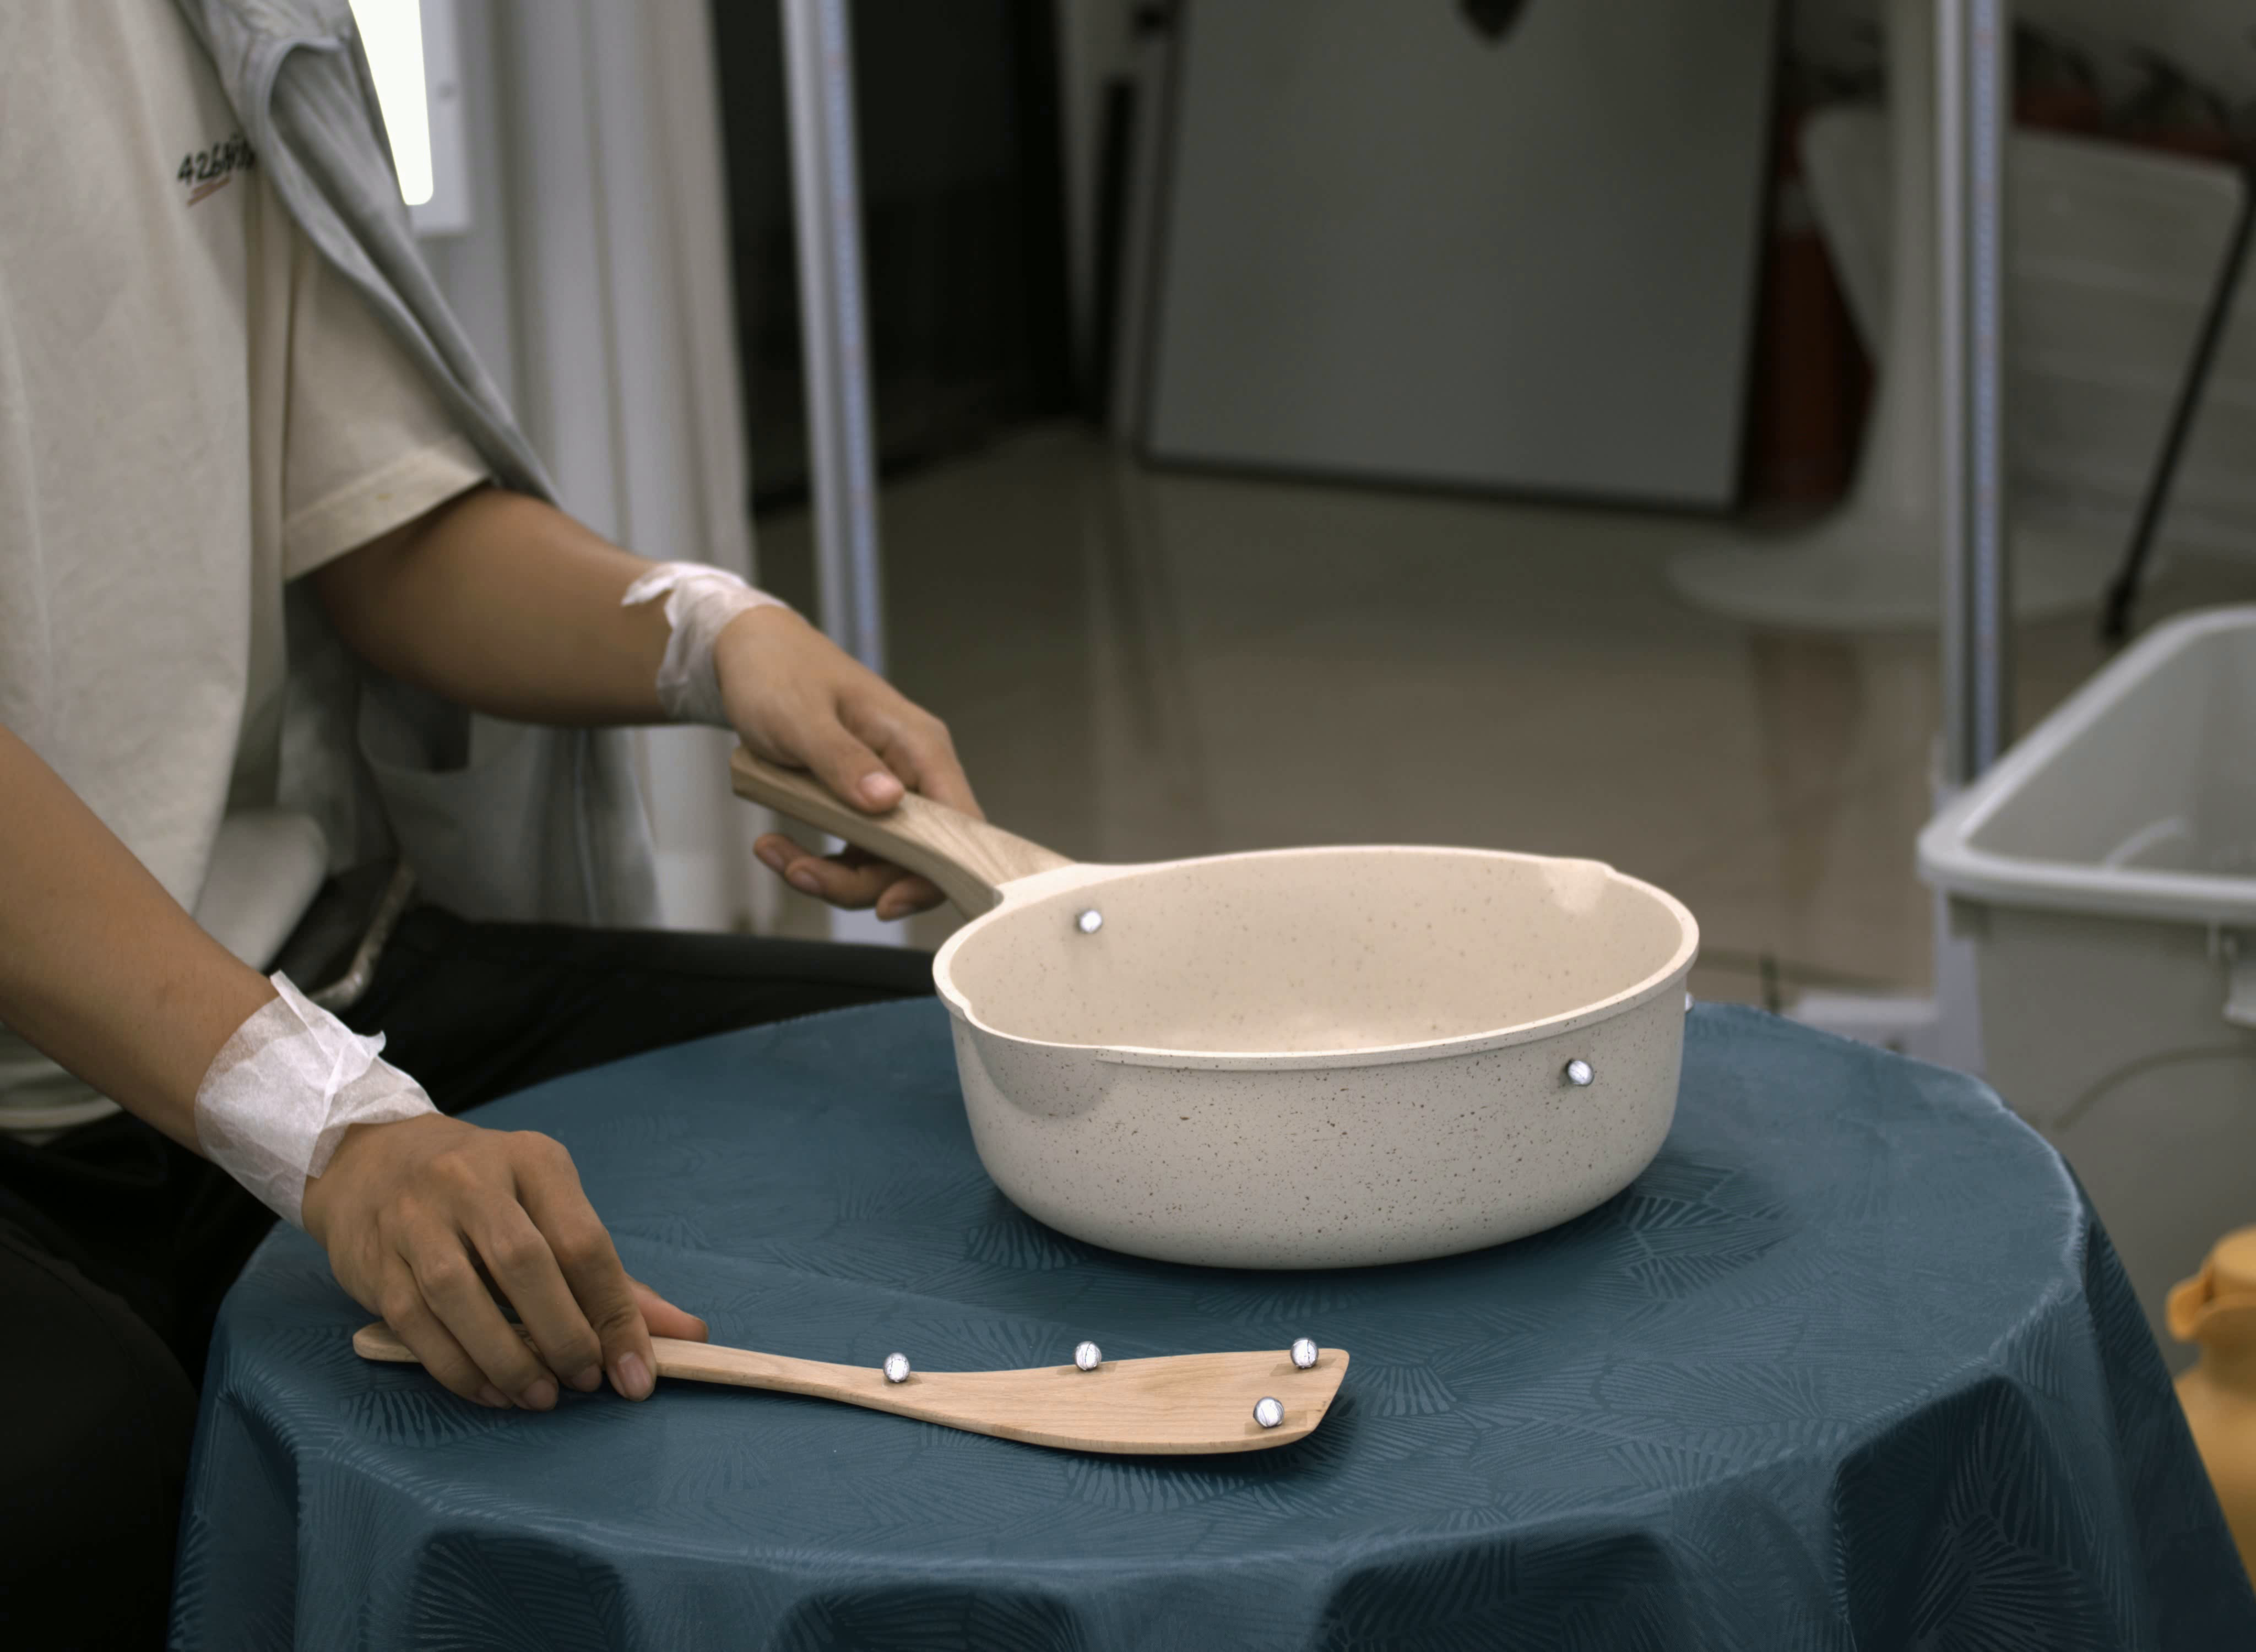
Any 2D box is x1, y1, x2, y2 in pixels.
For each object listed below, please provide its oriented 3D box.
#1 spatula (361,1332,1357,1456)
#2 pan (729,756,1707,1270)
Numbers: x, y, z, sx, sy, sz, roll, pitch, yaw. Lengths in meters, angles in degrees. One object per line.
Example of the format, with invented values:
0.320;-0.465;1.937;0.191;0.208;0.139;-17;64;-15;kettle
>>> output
-0.083;0.162;1.599;0.328;0.017;0.079;2;15;24;spatula
0.007;0.055;1.832;0.258;0.103;0.439;-17;19;-37;pan
